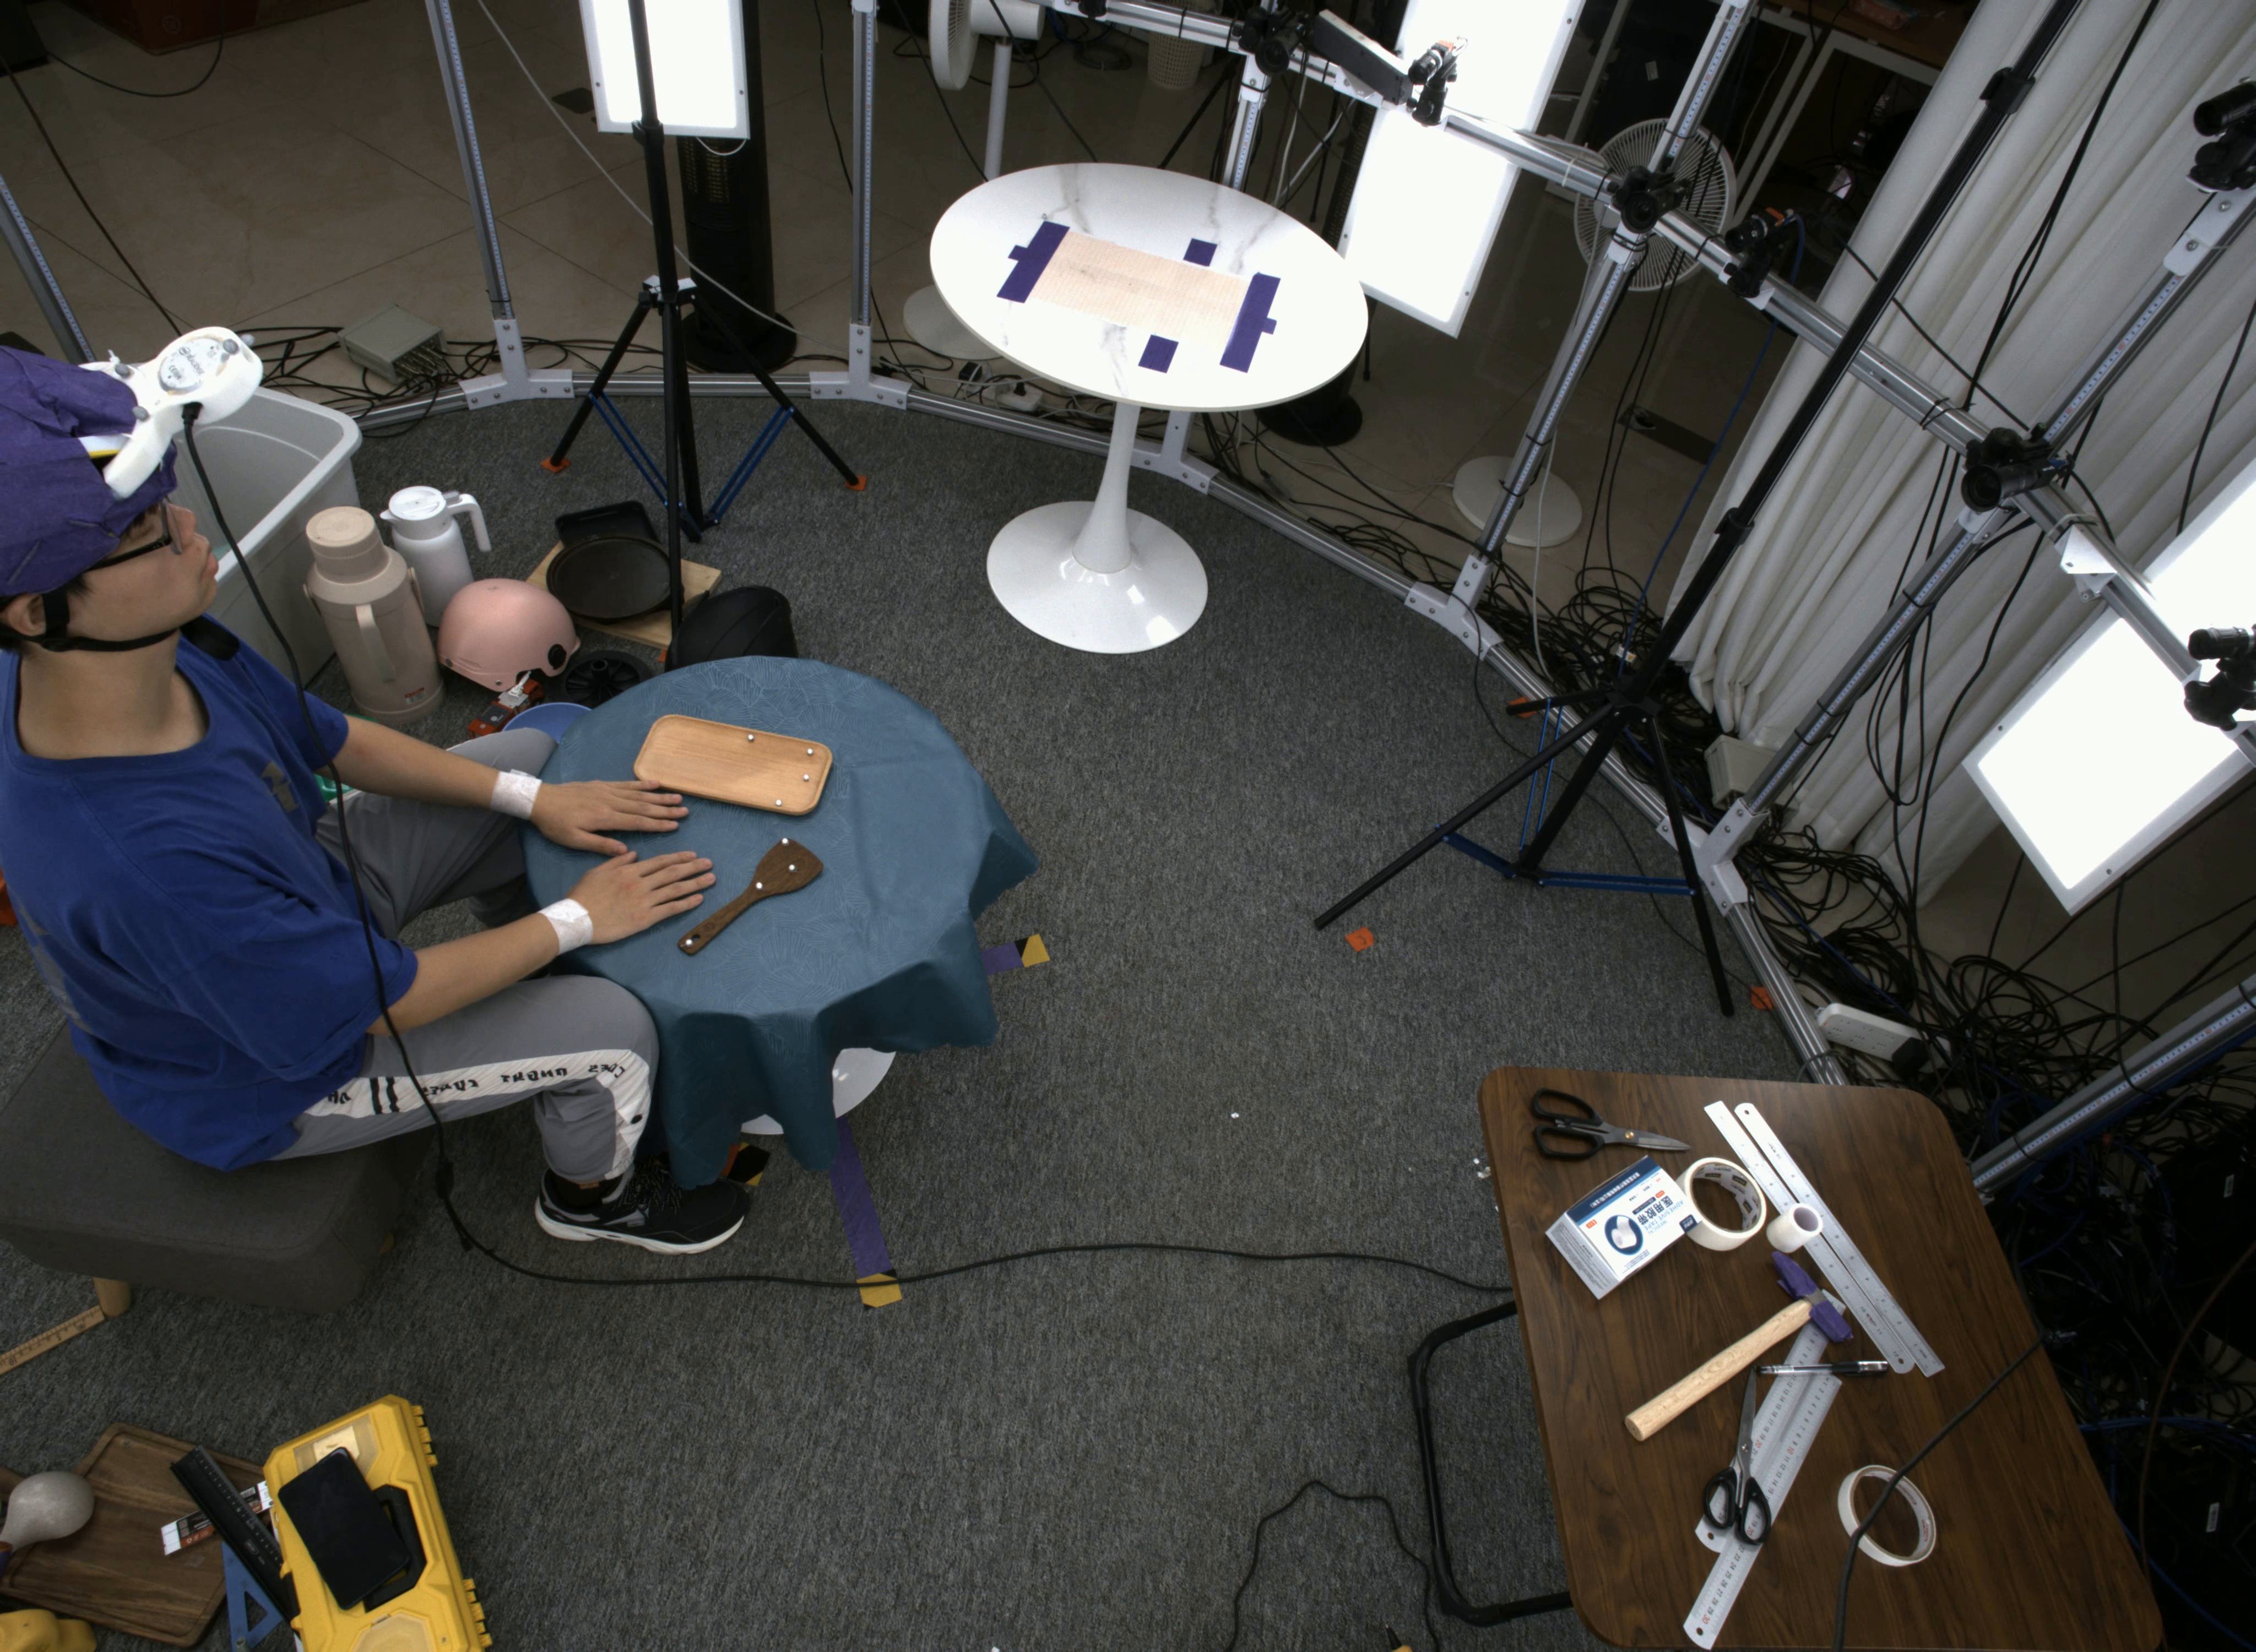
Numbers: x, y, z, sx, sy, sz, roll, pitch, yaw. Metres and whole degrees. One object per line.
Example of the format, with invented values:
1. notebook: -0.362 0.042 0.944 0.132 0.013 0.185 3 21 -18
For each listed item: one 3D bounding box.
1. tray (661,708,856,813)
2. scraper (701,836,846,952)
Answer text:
1. tray: -0.505 -0.089 1.769 0.249 0.023 0.128 13 50 -4
2. scraper: -0.457 0.088 1.655 0.074 0.011 0.211 38 55 15
